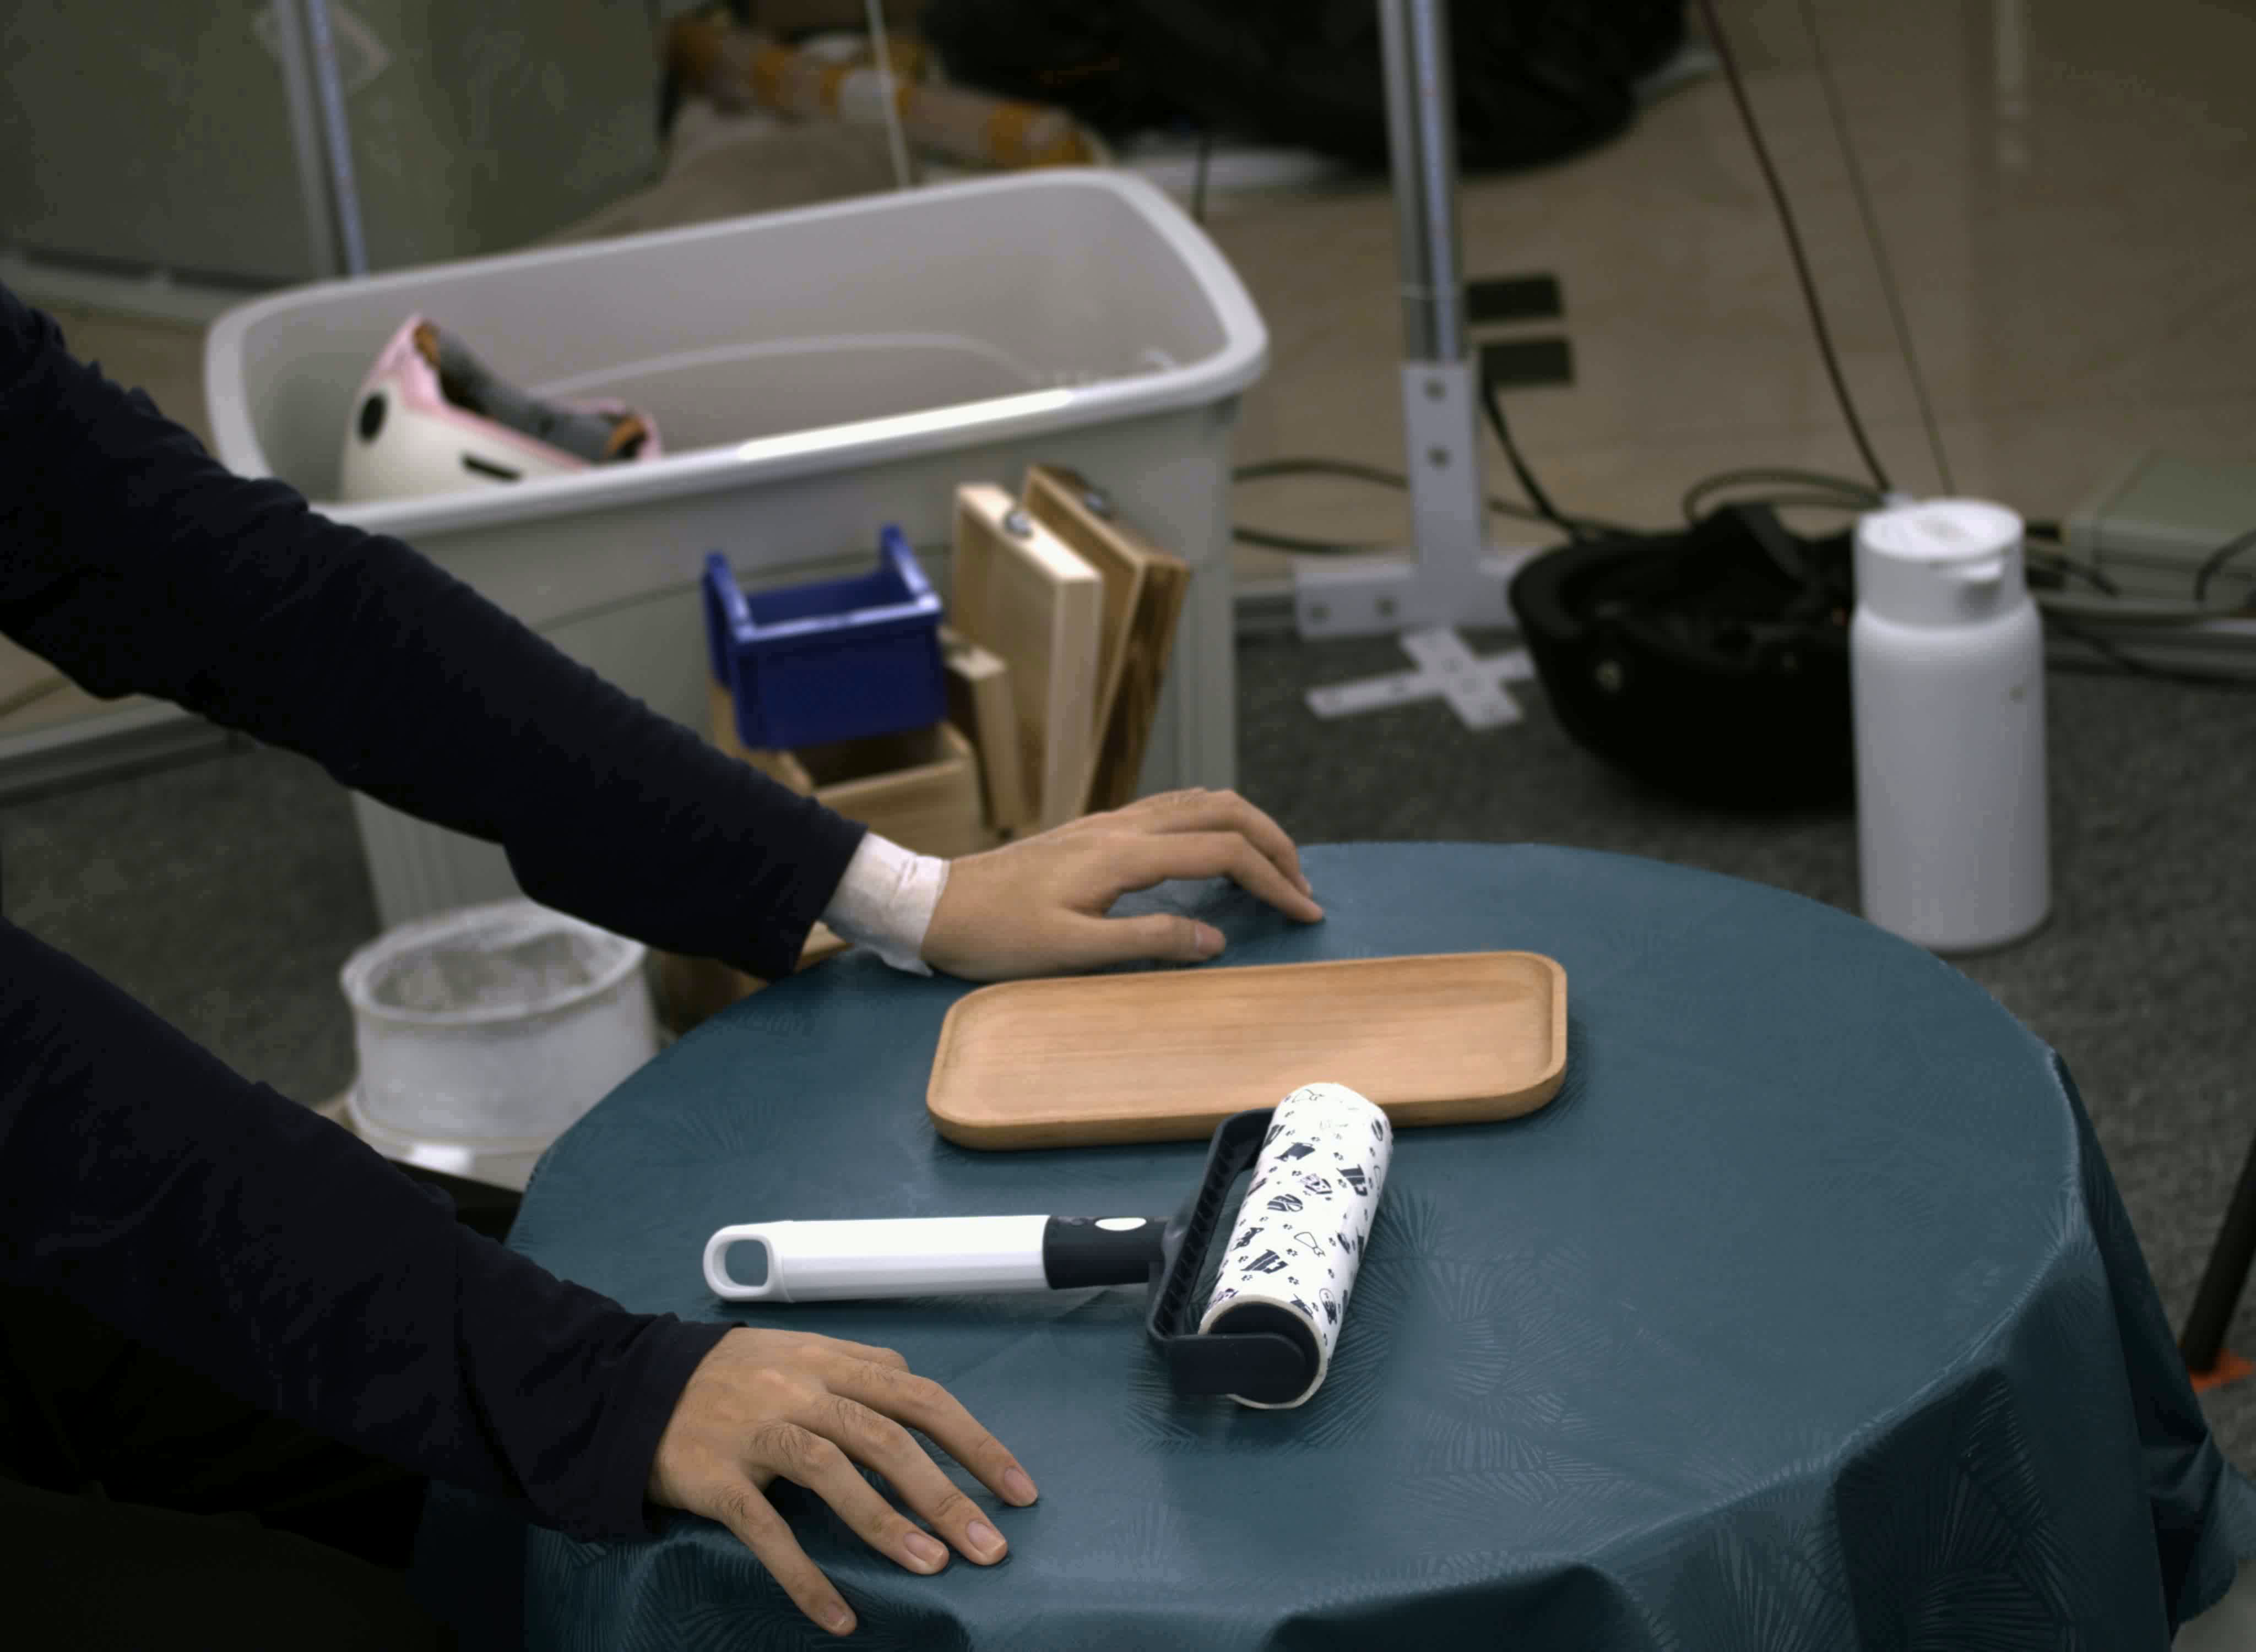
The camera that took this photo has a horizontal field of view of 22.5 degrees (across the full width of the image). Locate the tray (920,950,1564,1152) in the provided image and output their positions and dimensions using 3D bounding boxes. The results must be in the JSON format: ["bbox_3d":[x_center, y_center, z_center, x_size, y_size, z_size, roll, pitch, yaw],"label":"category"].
[{"bbox_3d":[0.046,0.089,2.230,0.250,0.023,0.129,-4,22,8],"label":"tray"}]

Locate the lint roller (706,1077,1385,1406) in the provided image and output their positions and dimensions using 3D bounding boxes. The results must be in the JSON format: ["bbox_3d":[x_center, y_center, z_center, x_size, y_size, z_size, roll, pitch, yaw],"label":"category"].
[{"bbox_3d":[-0.037,0.157,2.076,0.247,0.051,0.173,-4,25,13],"label":"lint roller"}]
